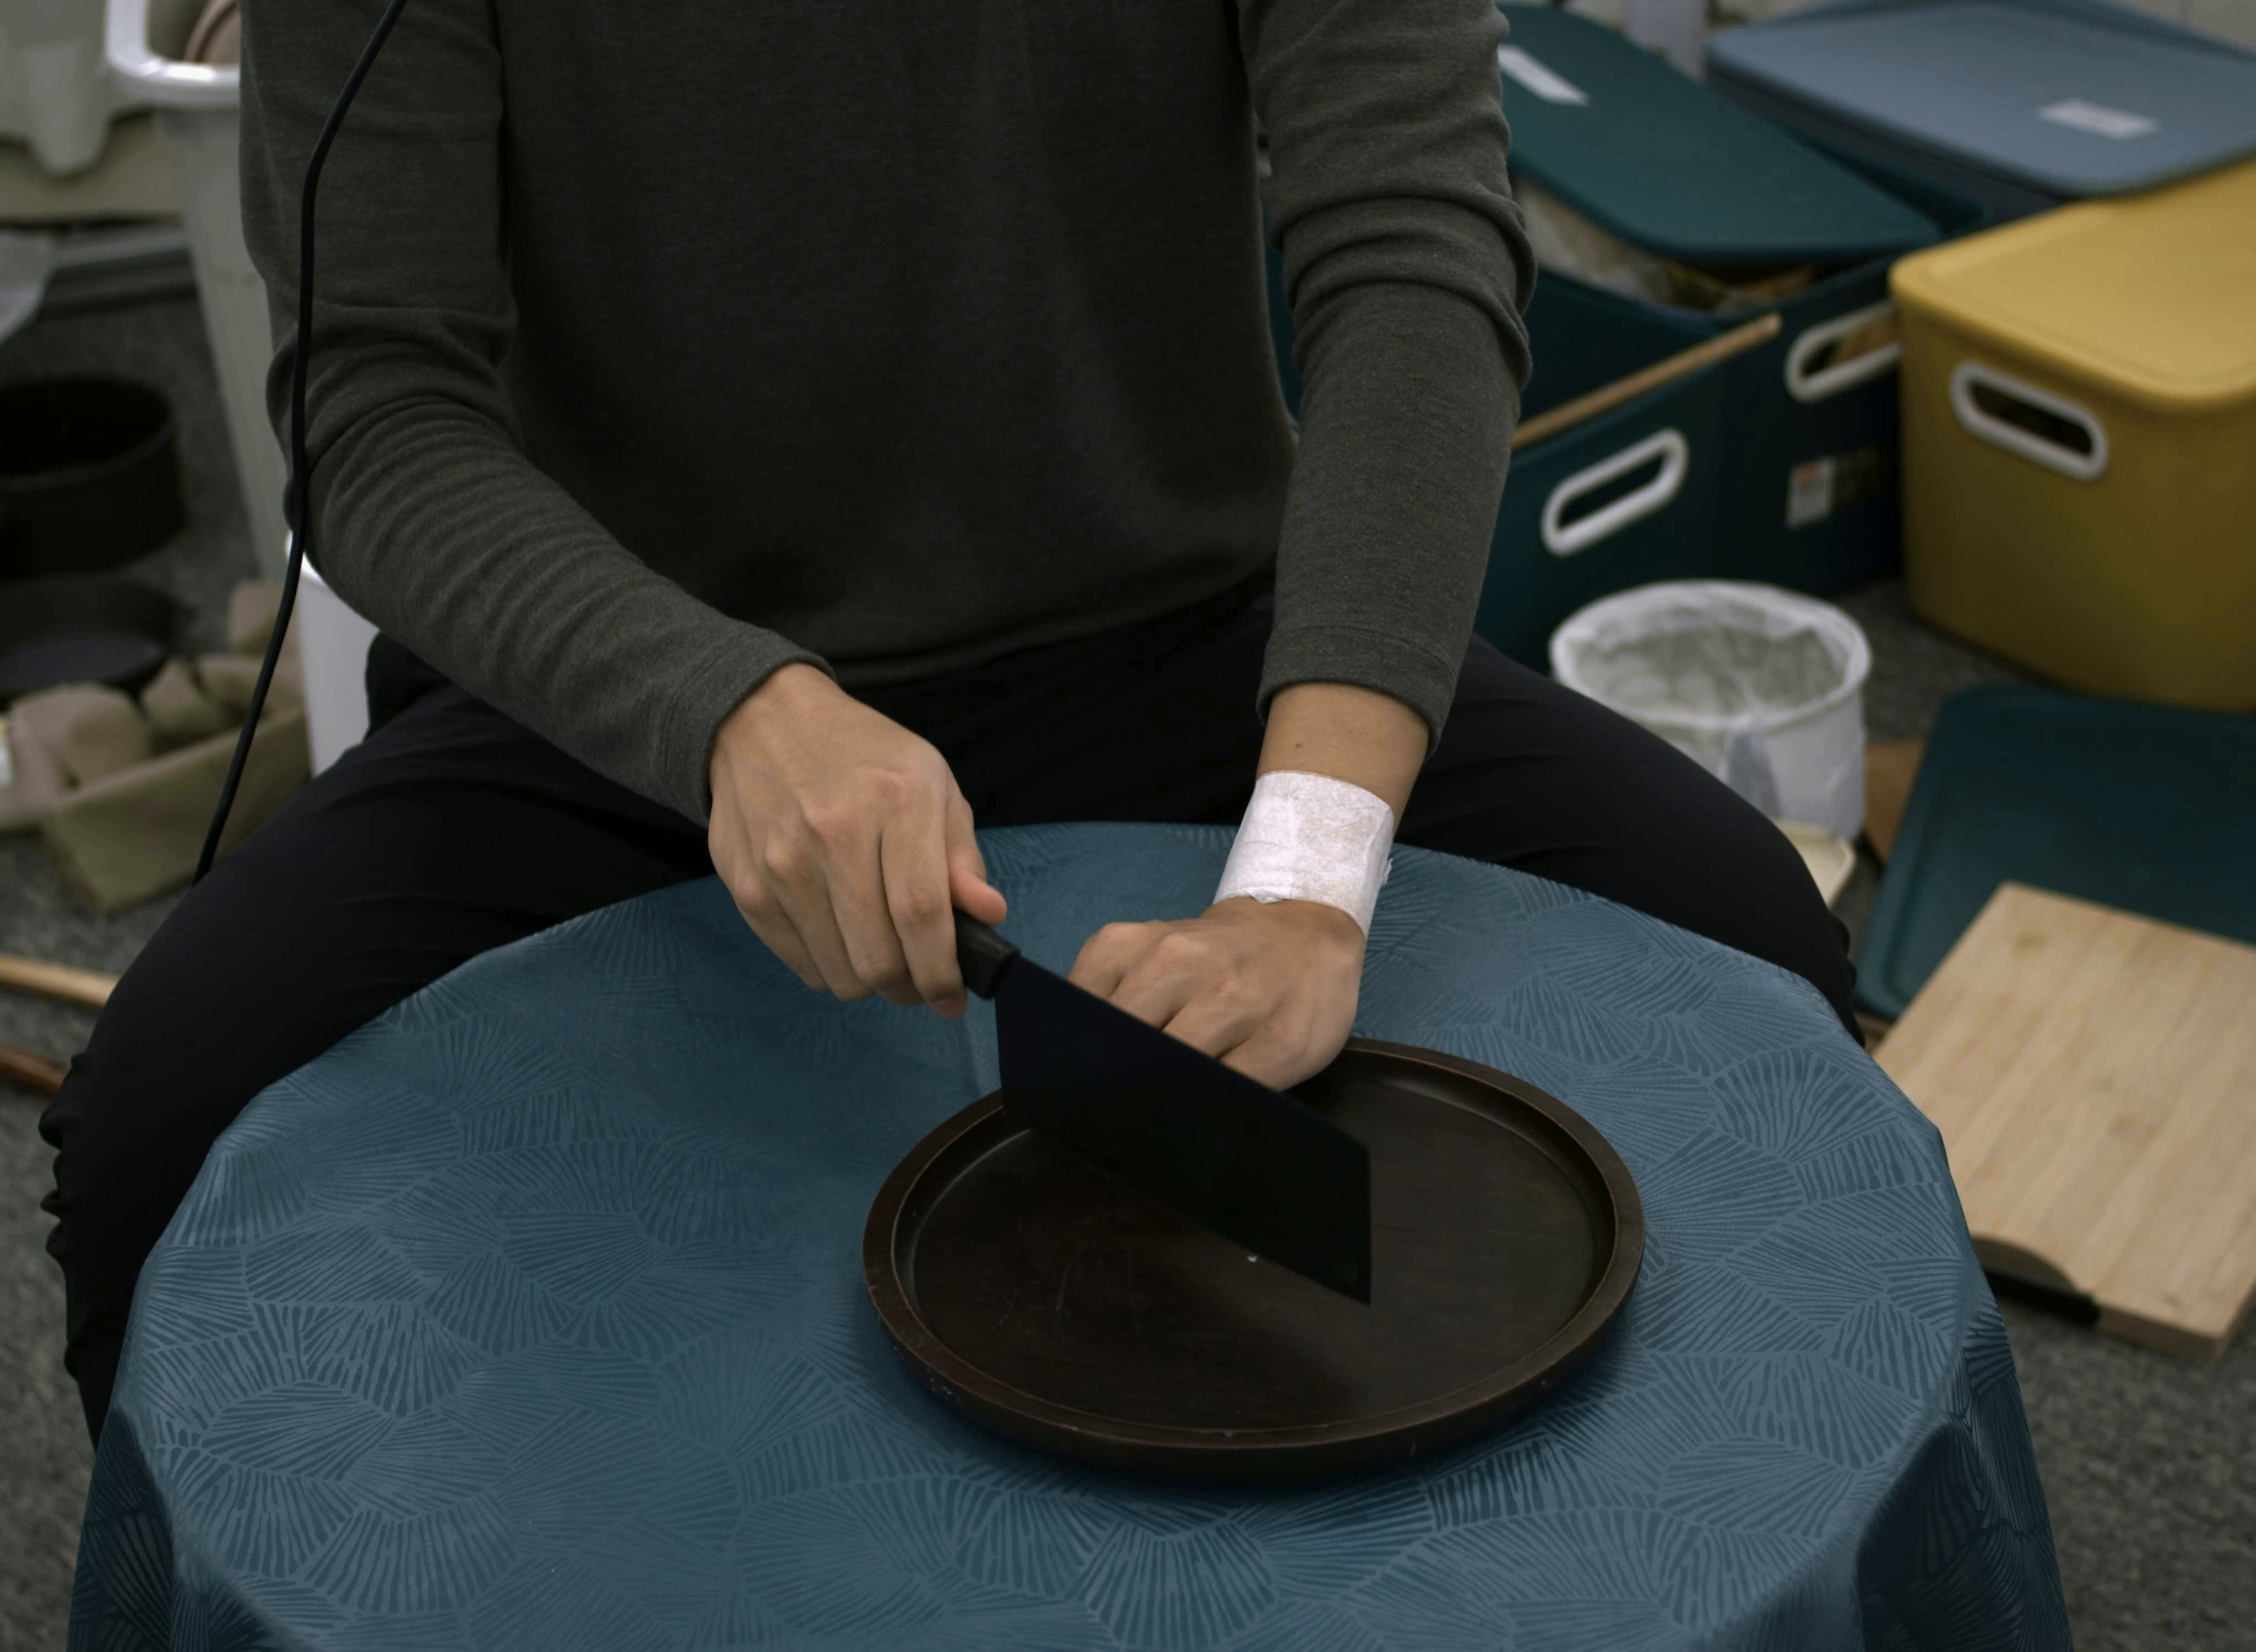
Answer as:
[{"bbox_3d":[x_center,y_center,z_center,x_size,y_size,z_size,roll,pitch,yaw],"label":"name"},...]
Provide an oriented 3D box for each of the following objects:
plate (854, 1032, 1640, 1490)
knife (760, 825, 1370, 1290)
[{"bbox_3d":[0.038,0.137,1.804,0.253,0.029,0.259,-3,28,2],"label":"plate"},{"bbox_3d":[-0.023,0.069,1.821,0.021,0.080,0.303,-21,36,-35],"label":"knife"}]
